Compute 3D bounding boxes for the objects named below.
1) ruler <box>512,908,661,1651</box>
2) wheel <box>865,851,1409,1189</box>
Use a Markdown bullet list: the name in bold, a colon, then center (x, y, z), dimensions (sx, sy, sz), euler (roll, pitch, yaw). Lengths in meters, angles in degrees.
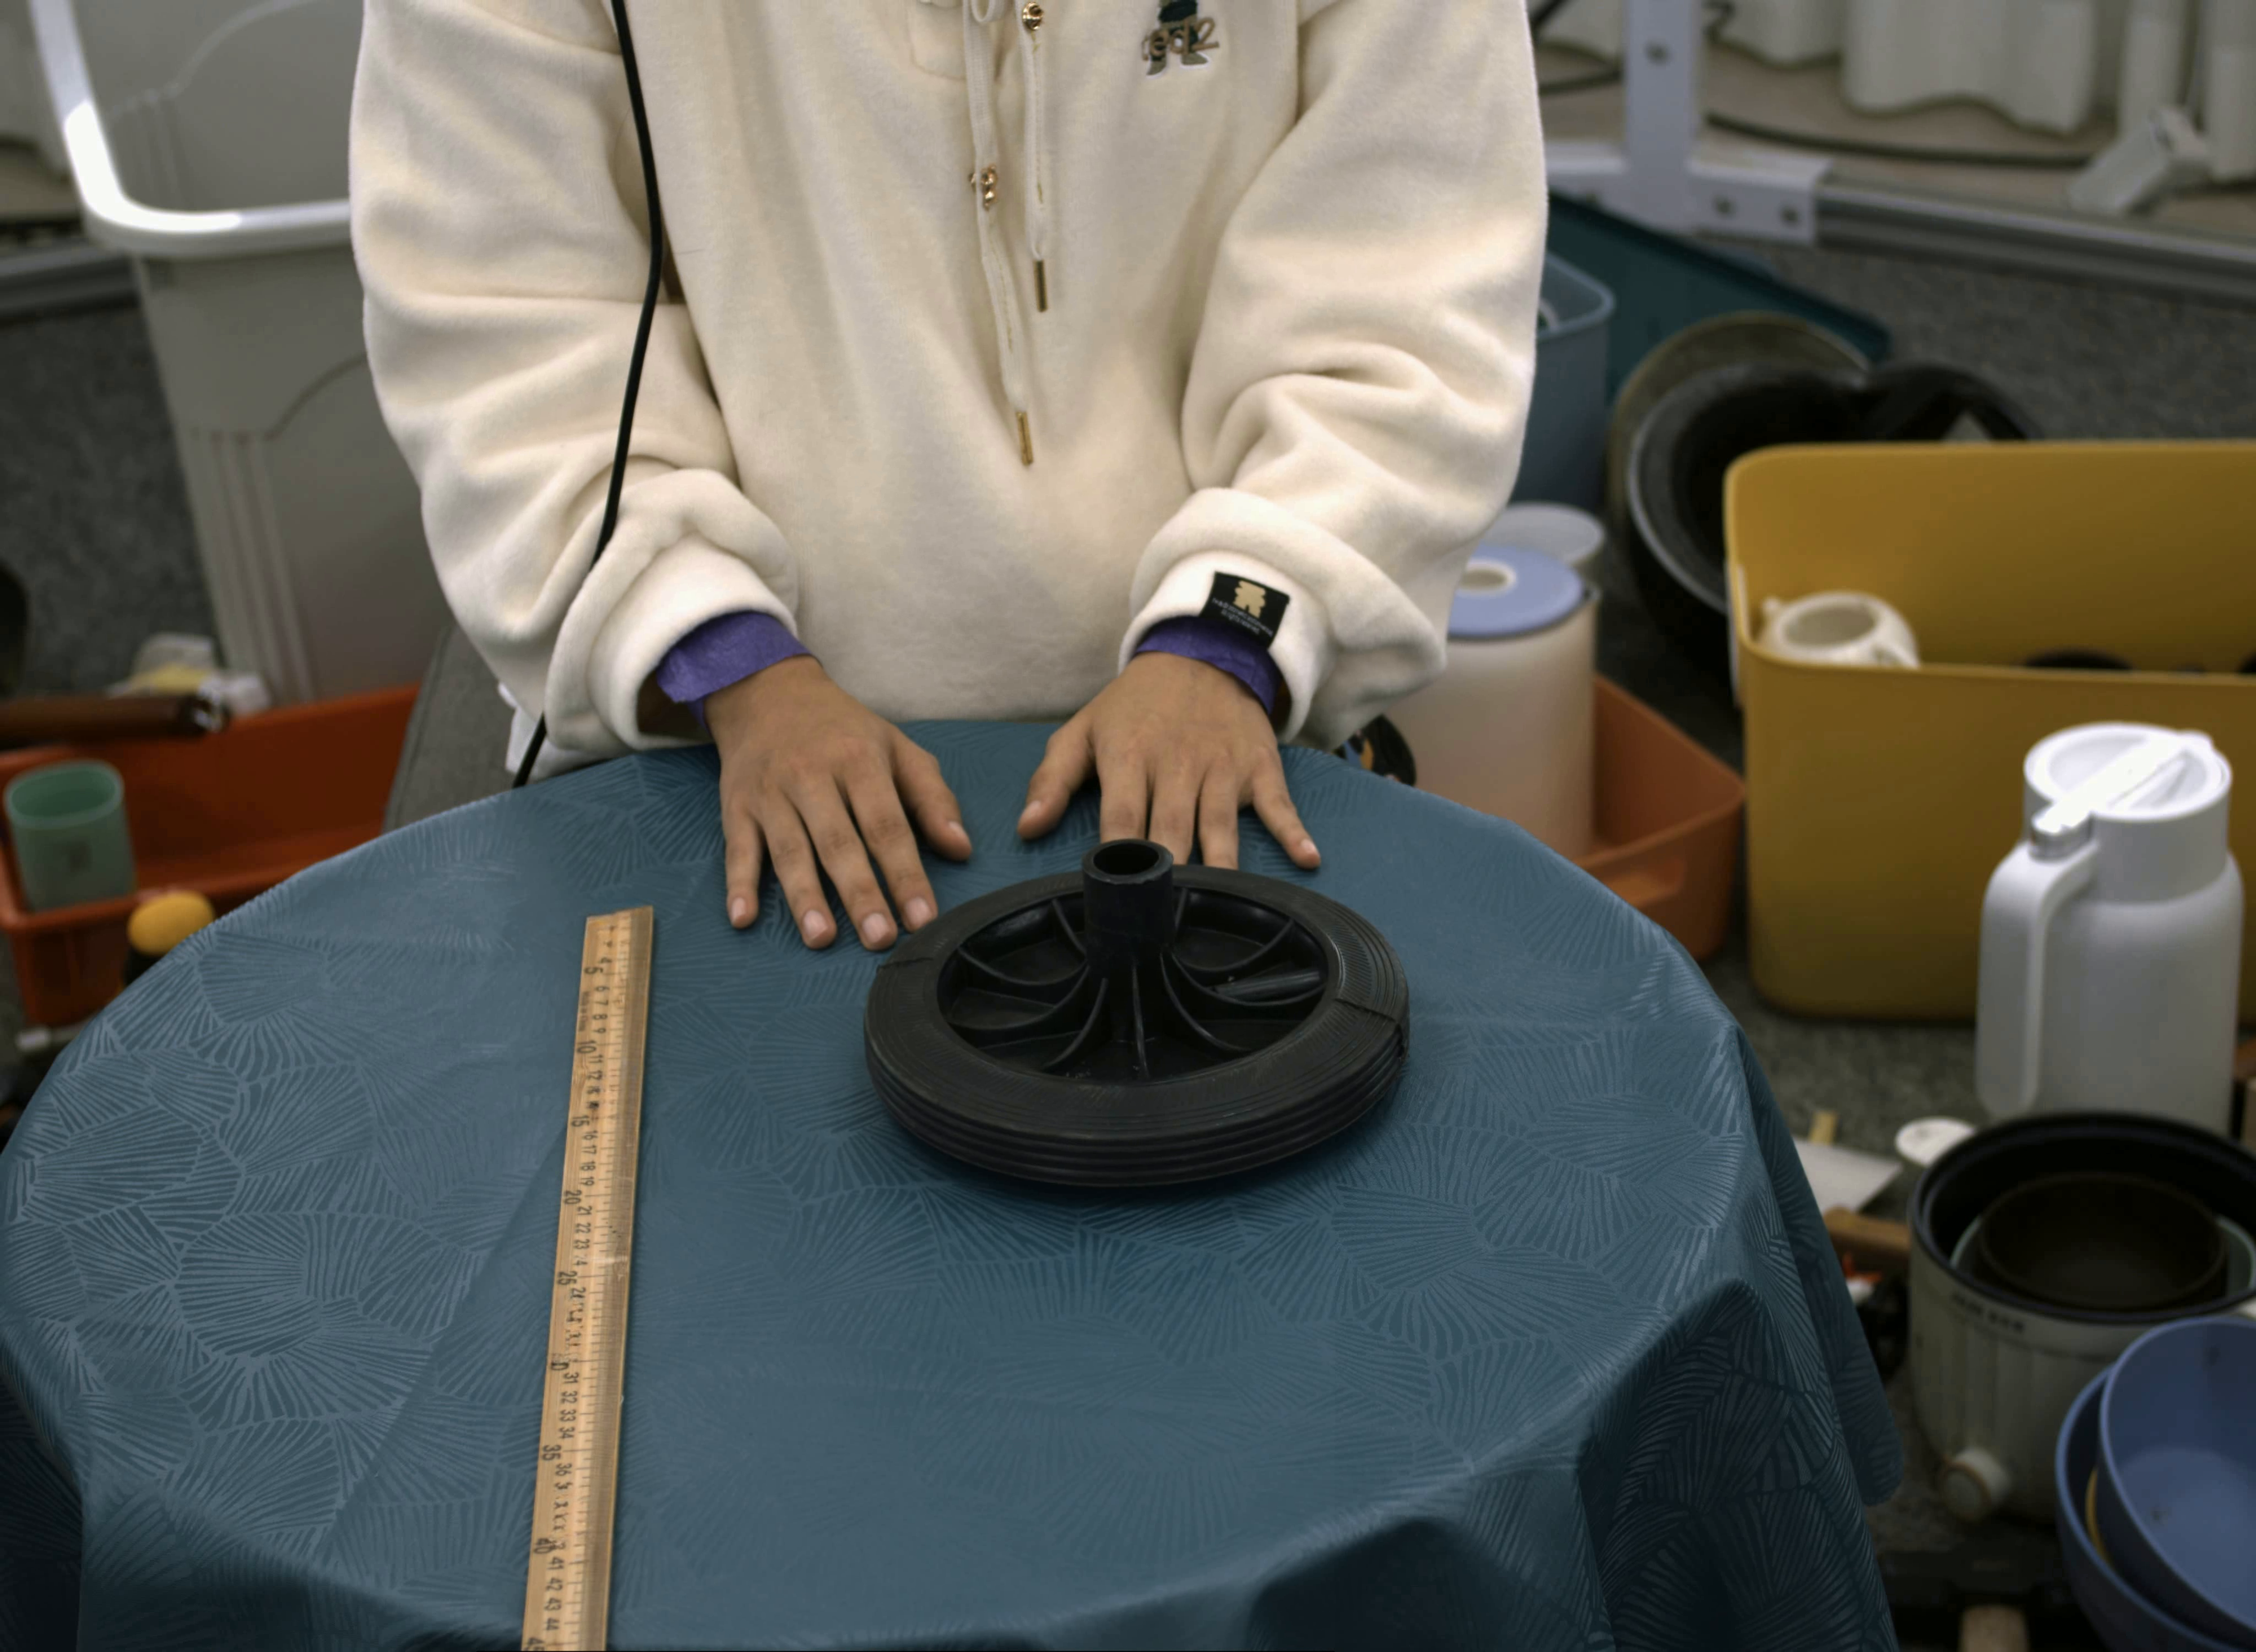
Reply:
- **ruler**: center (-0.174, 0.148, 1.822), dimensions (0.026, 0.006, 0.508), euler (-4, 27, 0)
- **wheel**: center (0.002, 0.050, 1.917), dimensions (0.191, 0.078, 0.187), euler (-21, 32, -32)
